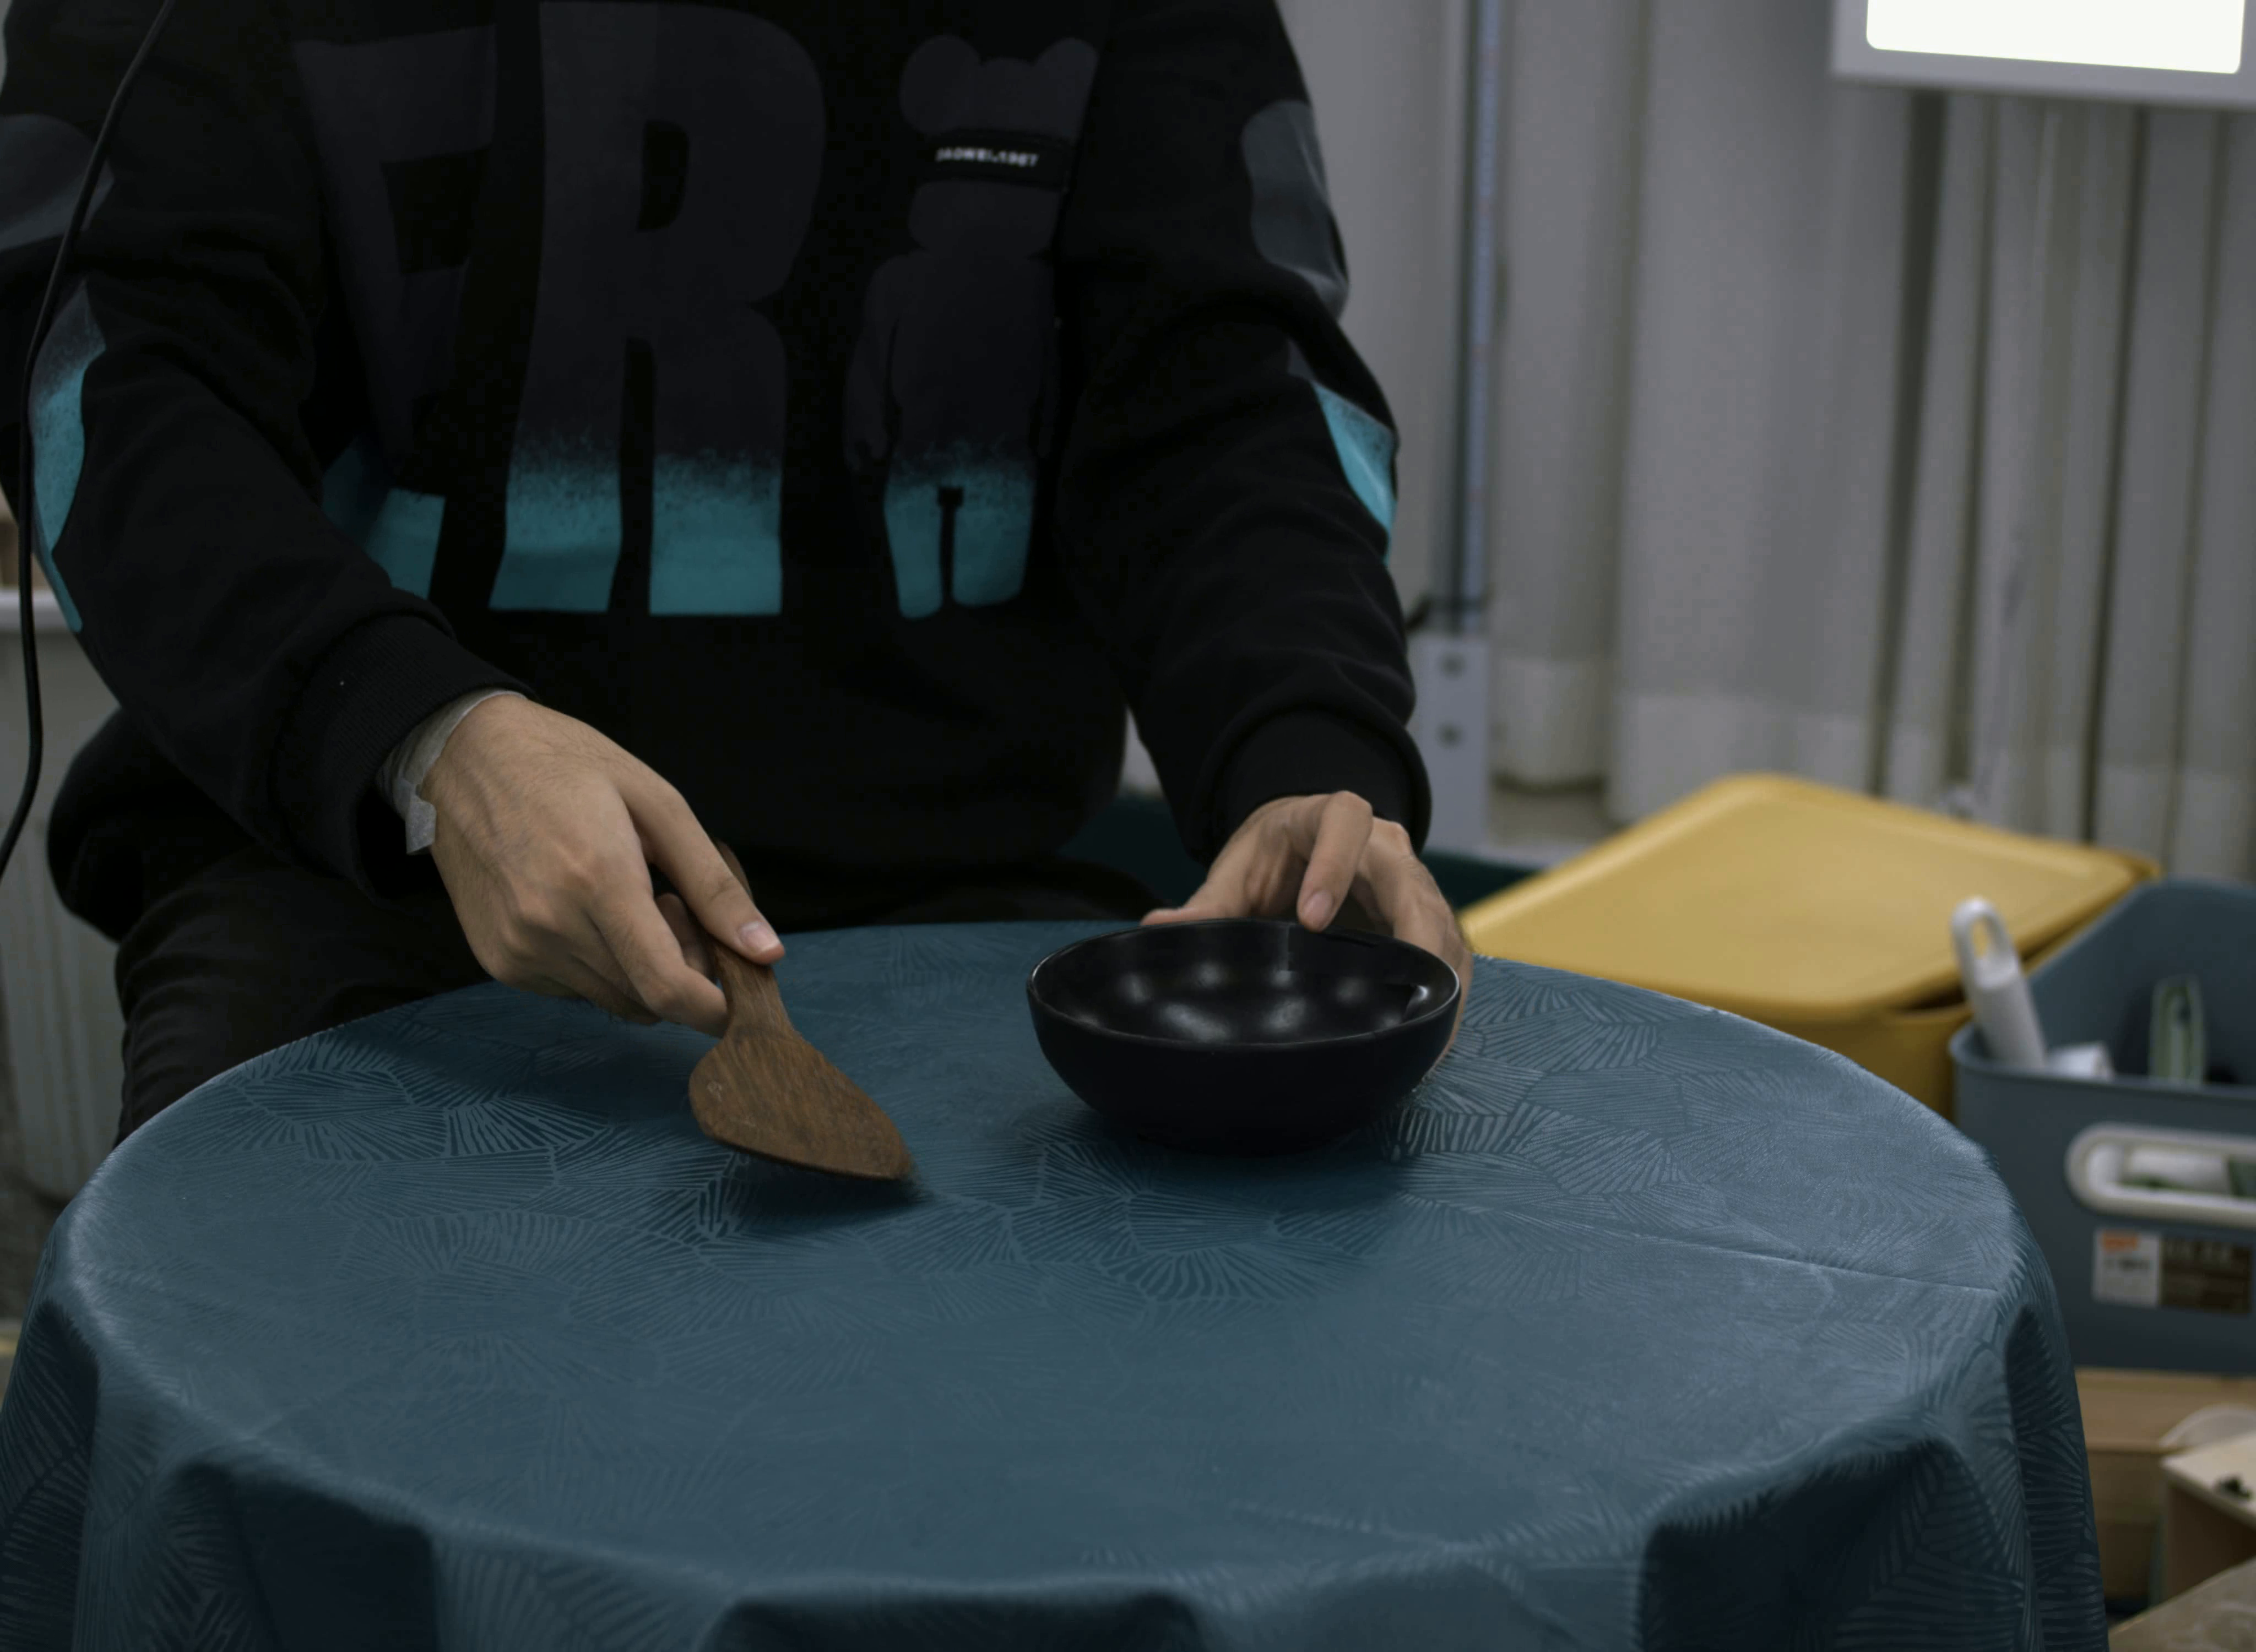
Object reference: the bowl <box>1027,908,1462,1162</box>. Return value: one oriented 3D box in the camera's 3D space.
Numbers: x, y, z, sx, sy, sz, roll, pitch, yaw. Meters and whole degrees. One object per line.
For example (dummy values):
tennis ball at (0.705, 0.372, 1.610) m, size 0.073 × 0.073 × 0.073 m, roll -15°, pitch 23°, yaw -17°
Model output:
bowl at (0.038, 0.072, 1.681) m, size 0.139 × 0.050 × 0.139 m, roll -1°, pitch 18°, yaw 1°

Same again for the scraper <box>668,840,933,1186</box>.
scraper at (-0.117, 0.057, 1.682) m, size 0.076 × 0.011 × 0.209 m, roll 16°, pitch 23°, yaw -24°
